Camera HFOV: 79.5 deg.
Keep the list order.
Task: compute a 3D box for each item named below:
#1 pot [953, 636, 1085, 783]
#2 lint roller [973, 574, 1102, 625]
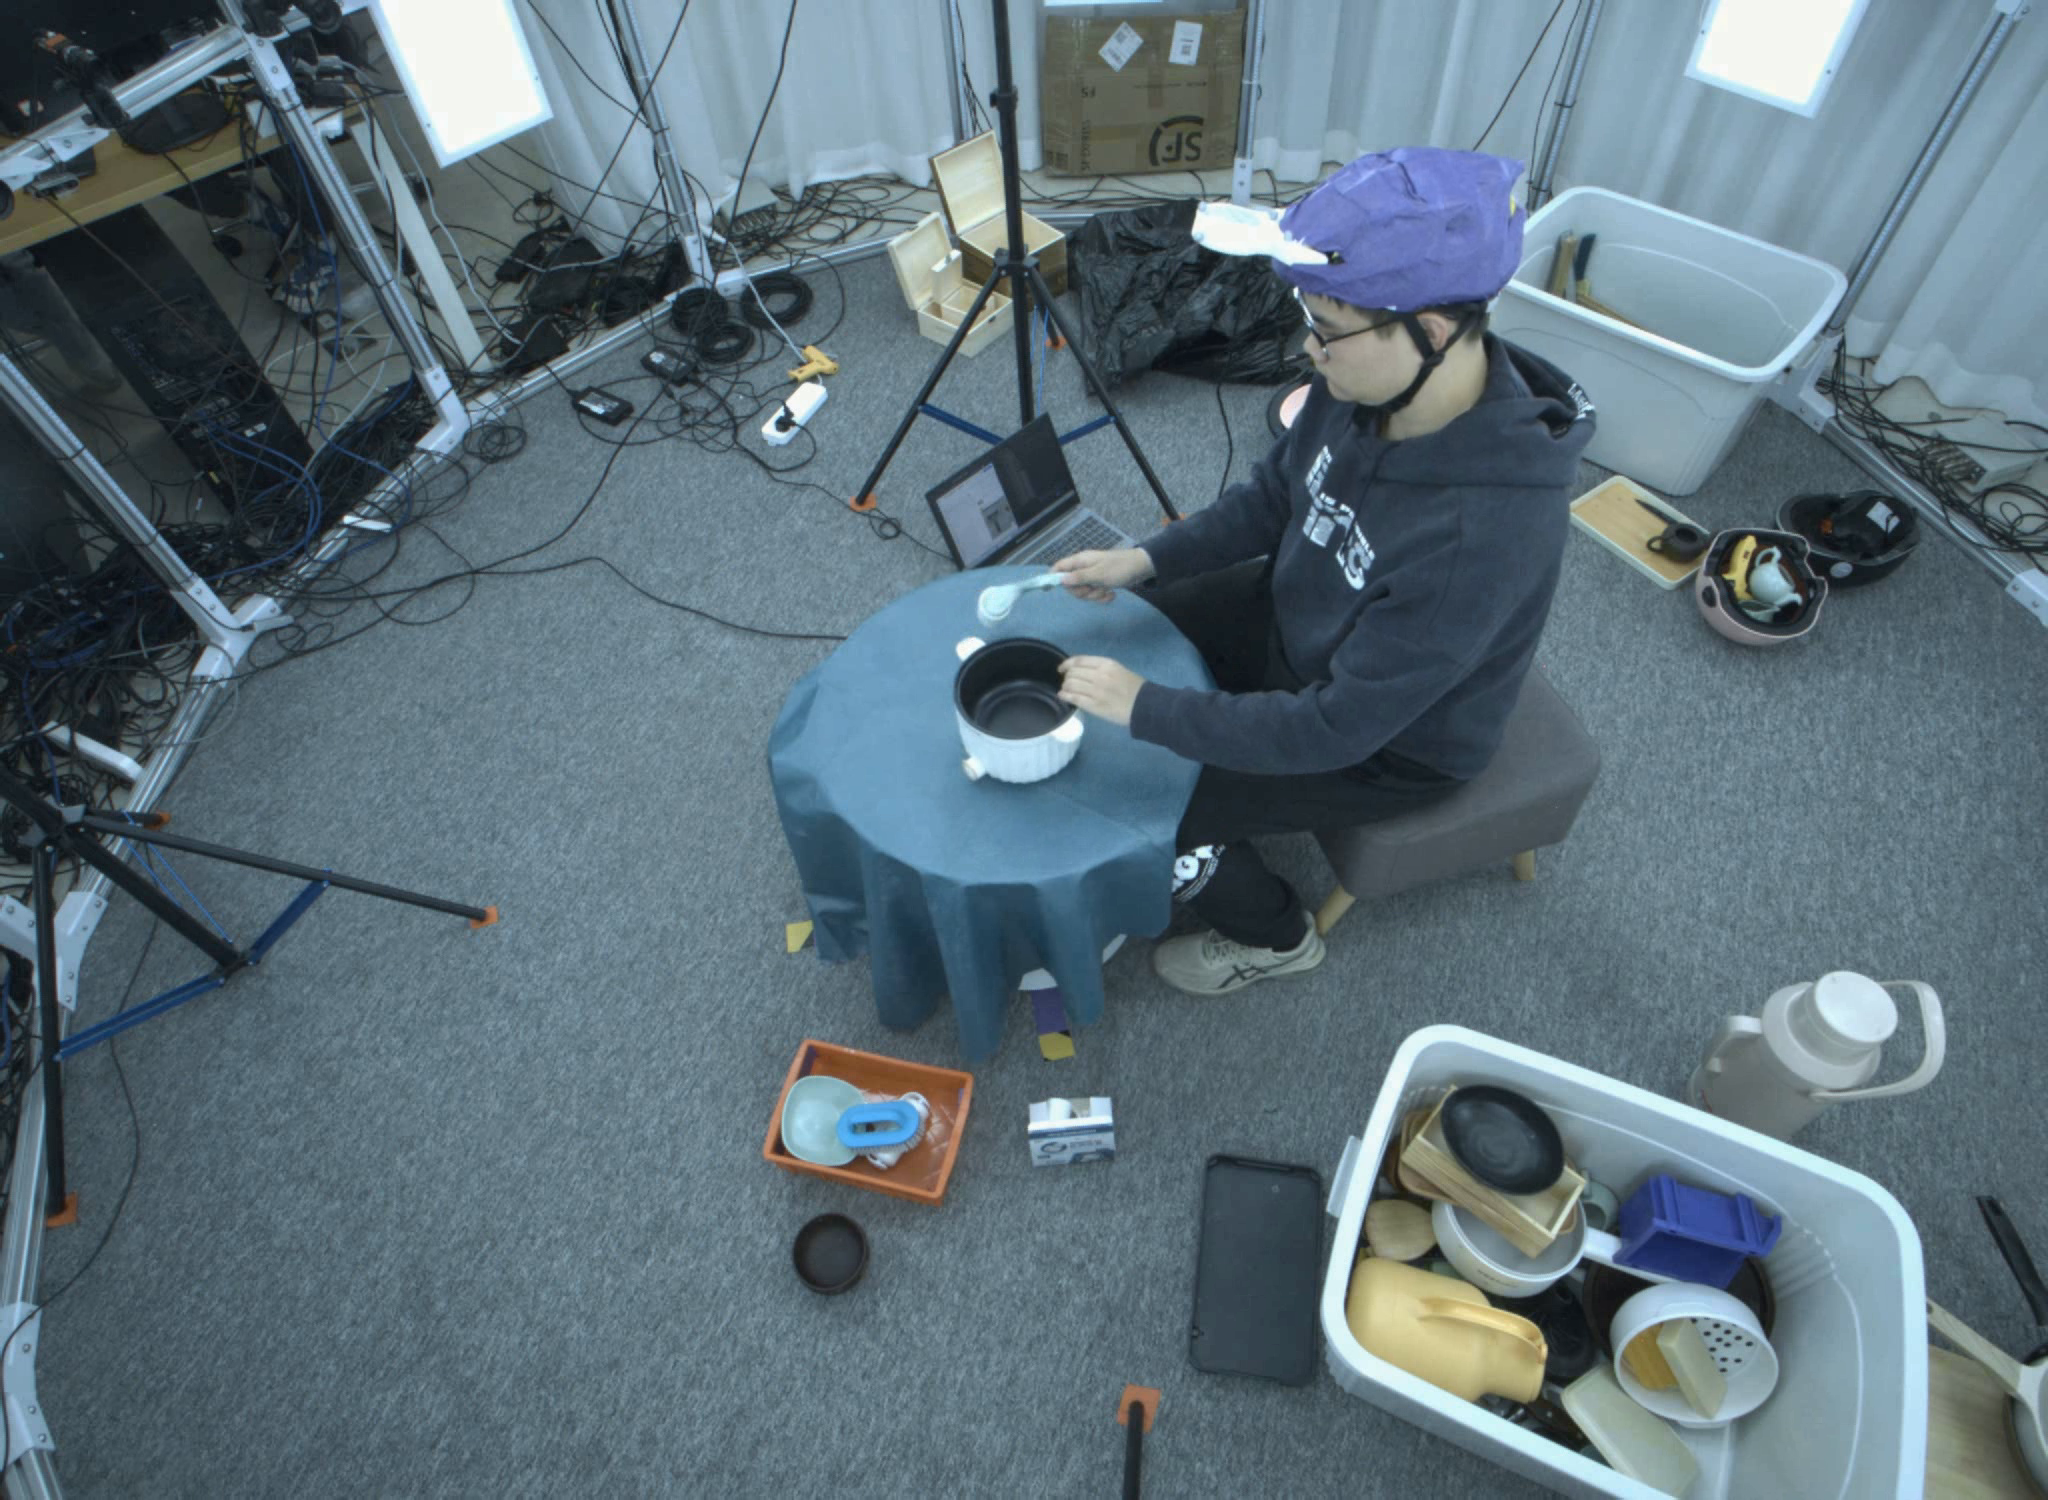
[{"bbox_3d":[-0.008,-0.046,1.735,0.192,0.144,0.236,-36,60,-25],"label":"pot"},{"bbox_3d":[0.020,-0.236,1.837,0.198,0.116,0.048,-18,91,-5],"label":"lint roller"}]
